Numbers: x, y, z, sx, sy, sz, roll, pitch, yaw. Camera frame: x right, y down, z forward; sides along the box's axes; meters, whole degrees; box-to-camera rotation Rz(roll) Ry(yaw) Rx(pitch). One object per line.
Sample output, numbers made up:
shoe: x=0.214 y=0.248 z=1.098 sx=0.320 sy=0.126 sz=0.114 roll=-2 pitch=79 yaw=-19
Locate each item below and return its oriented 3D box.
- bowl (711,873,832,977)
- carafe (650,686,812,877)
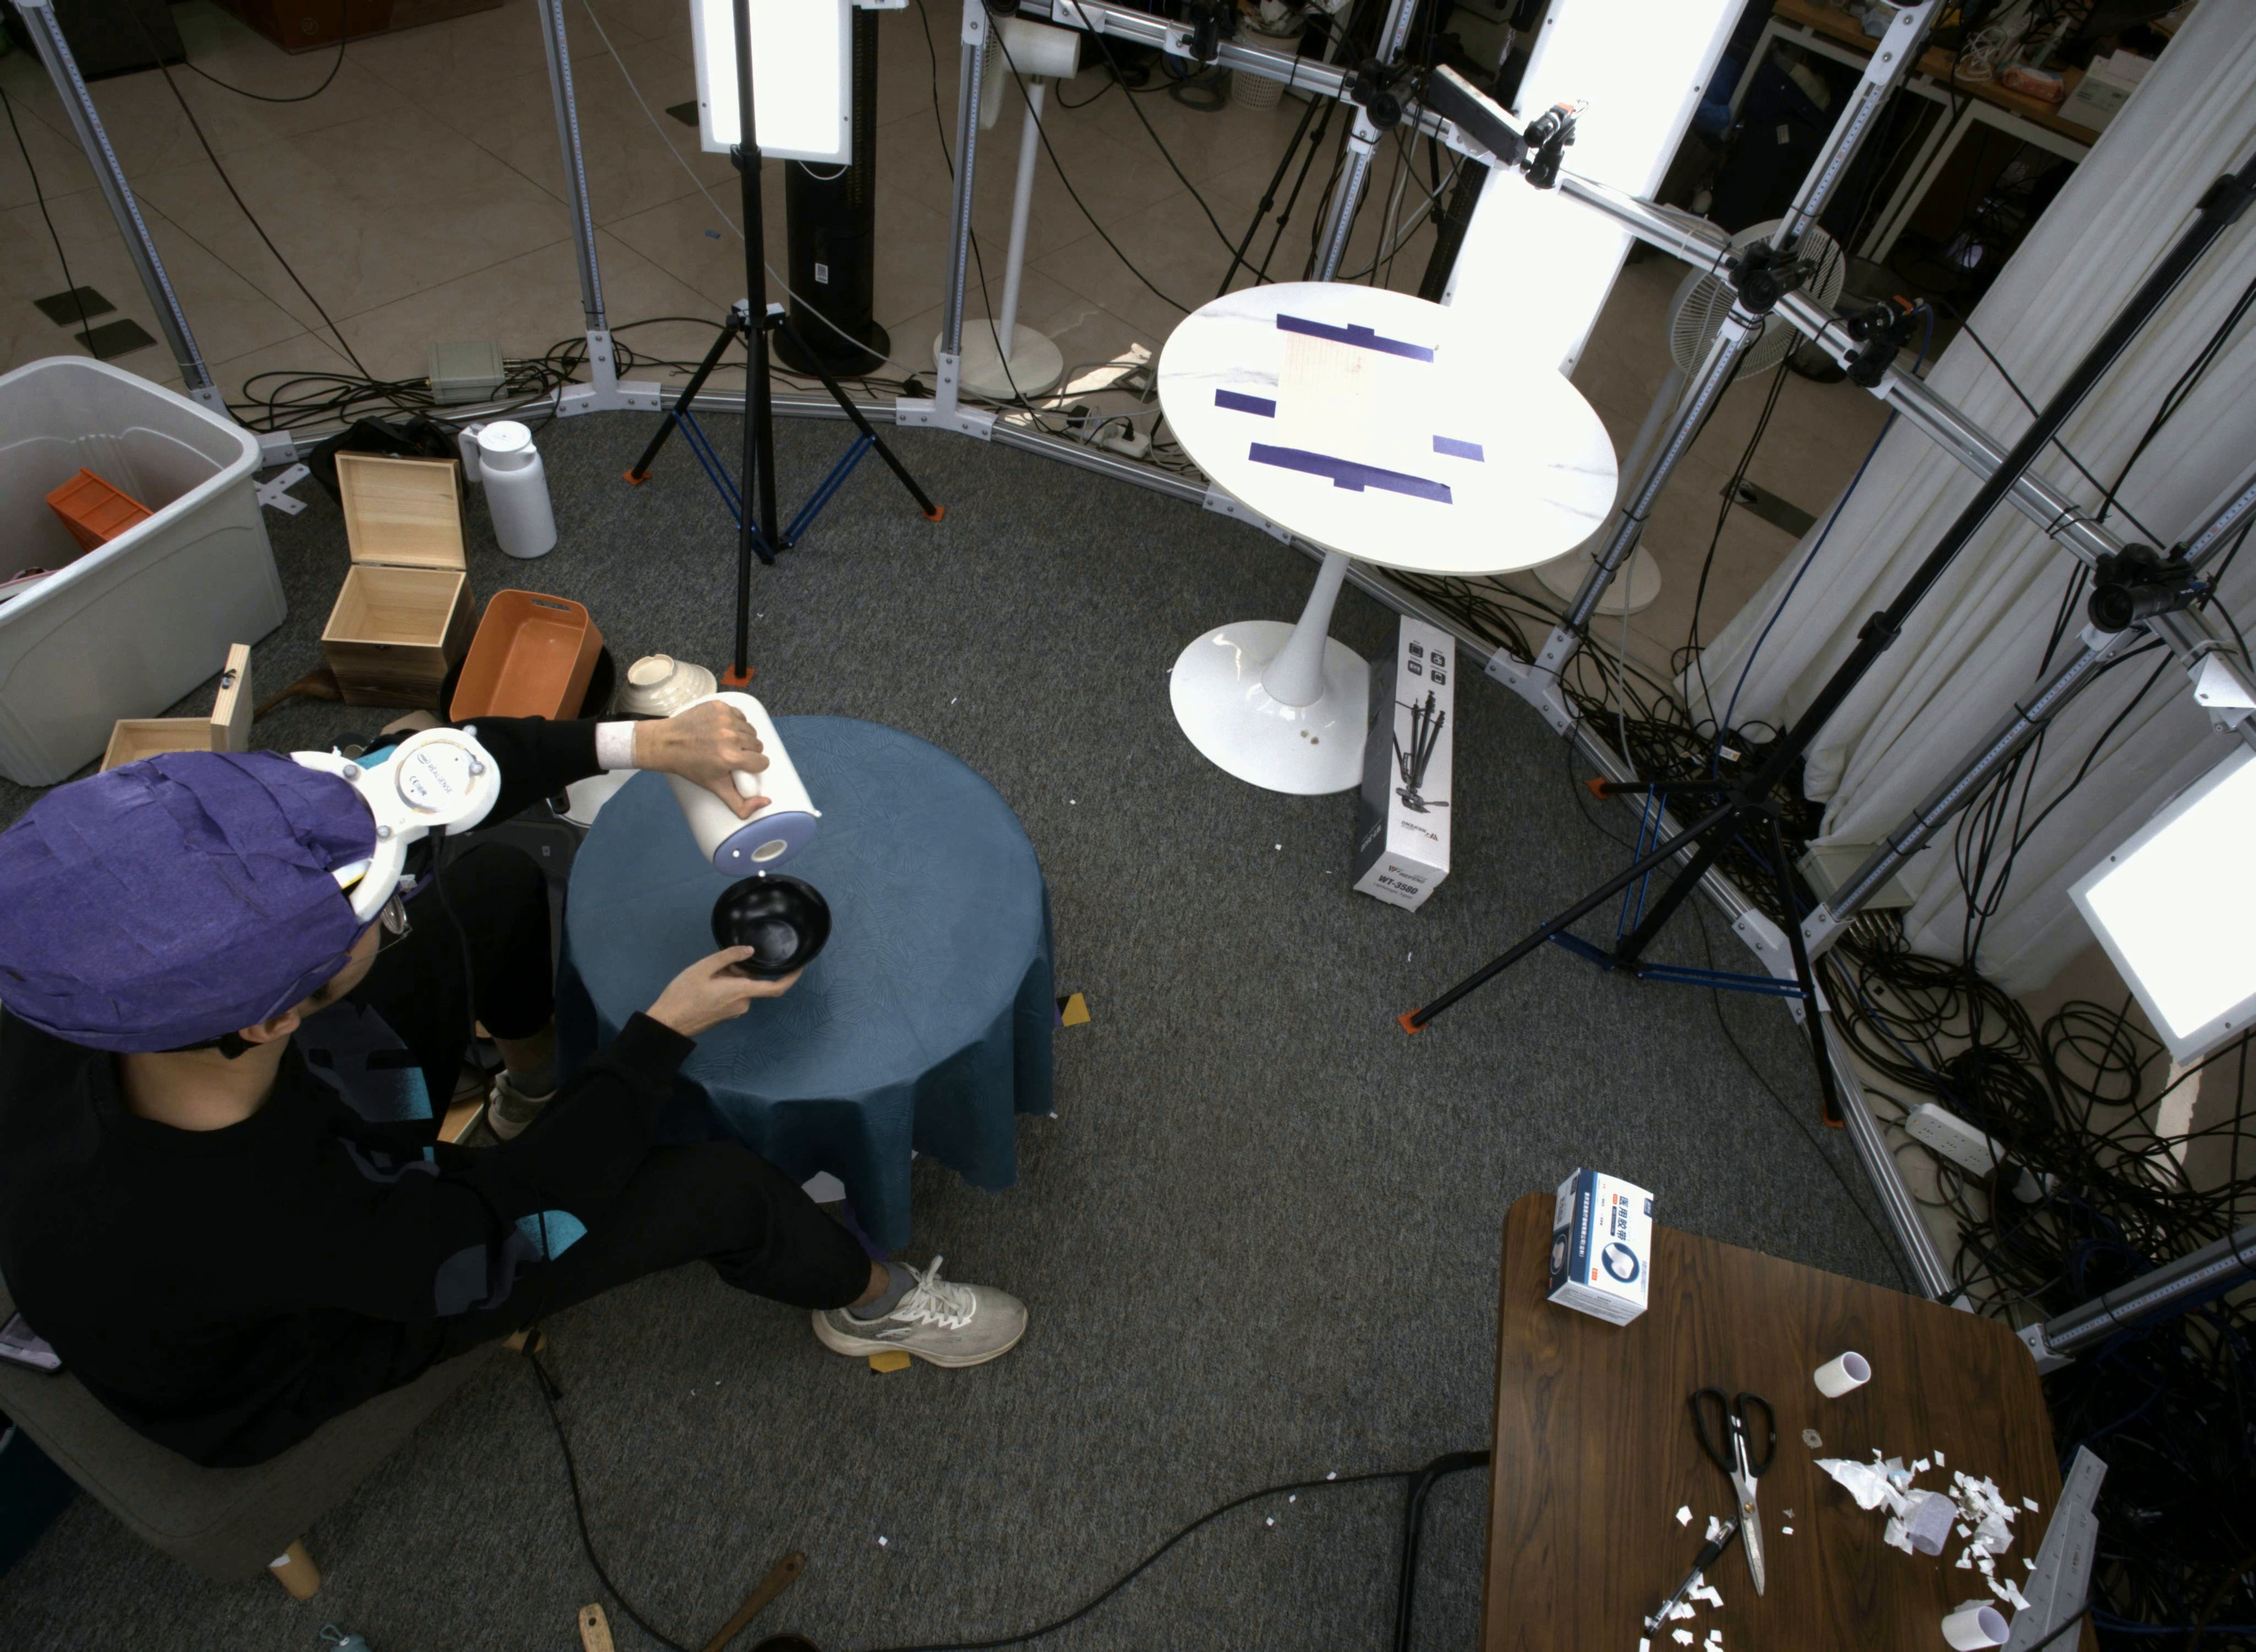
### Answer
bowl: x=-0.420 y=0.123 z=1.529 sx=0.140 sy=0.051 sz=0.137 roll=9 pitch=50 yaw=-9
carafe: x=-0.437 y=-0.061 z=1.406 sx=0.132 sy=0.194 sz=0.179 roll=-27 pitch=69 yaw=-19
